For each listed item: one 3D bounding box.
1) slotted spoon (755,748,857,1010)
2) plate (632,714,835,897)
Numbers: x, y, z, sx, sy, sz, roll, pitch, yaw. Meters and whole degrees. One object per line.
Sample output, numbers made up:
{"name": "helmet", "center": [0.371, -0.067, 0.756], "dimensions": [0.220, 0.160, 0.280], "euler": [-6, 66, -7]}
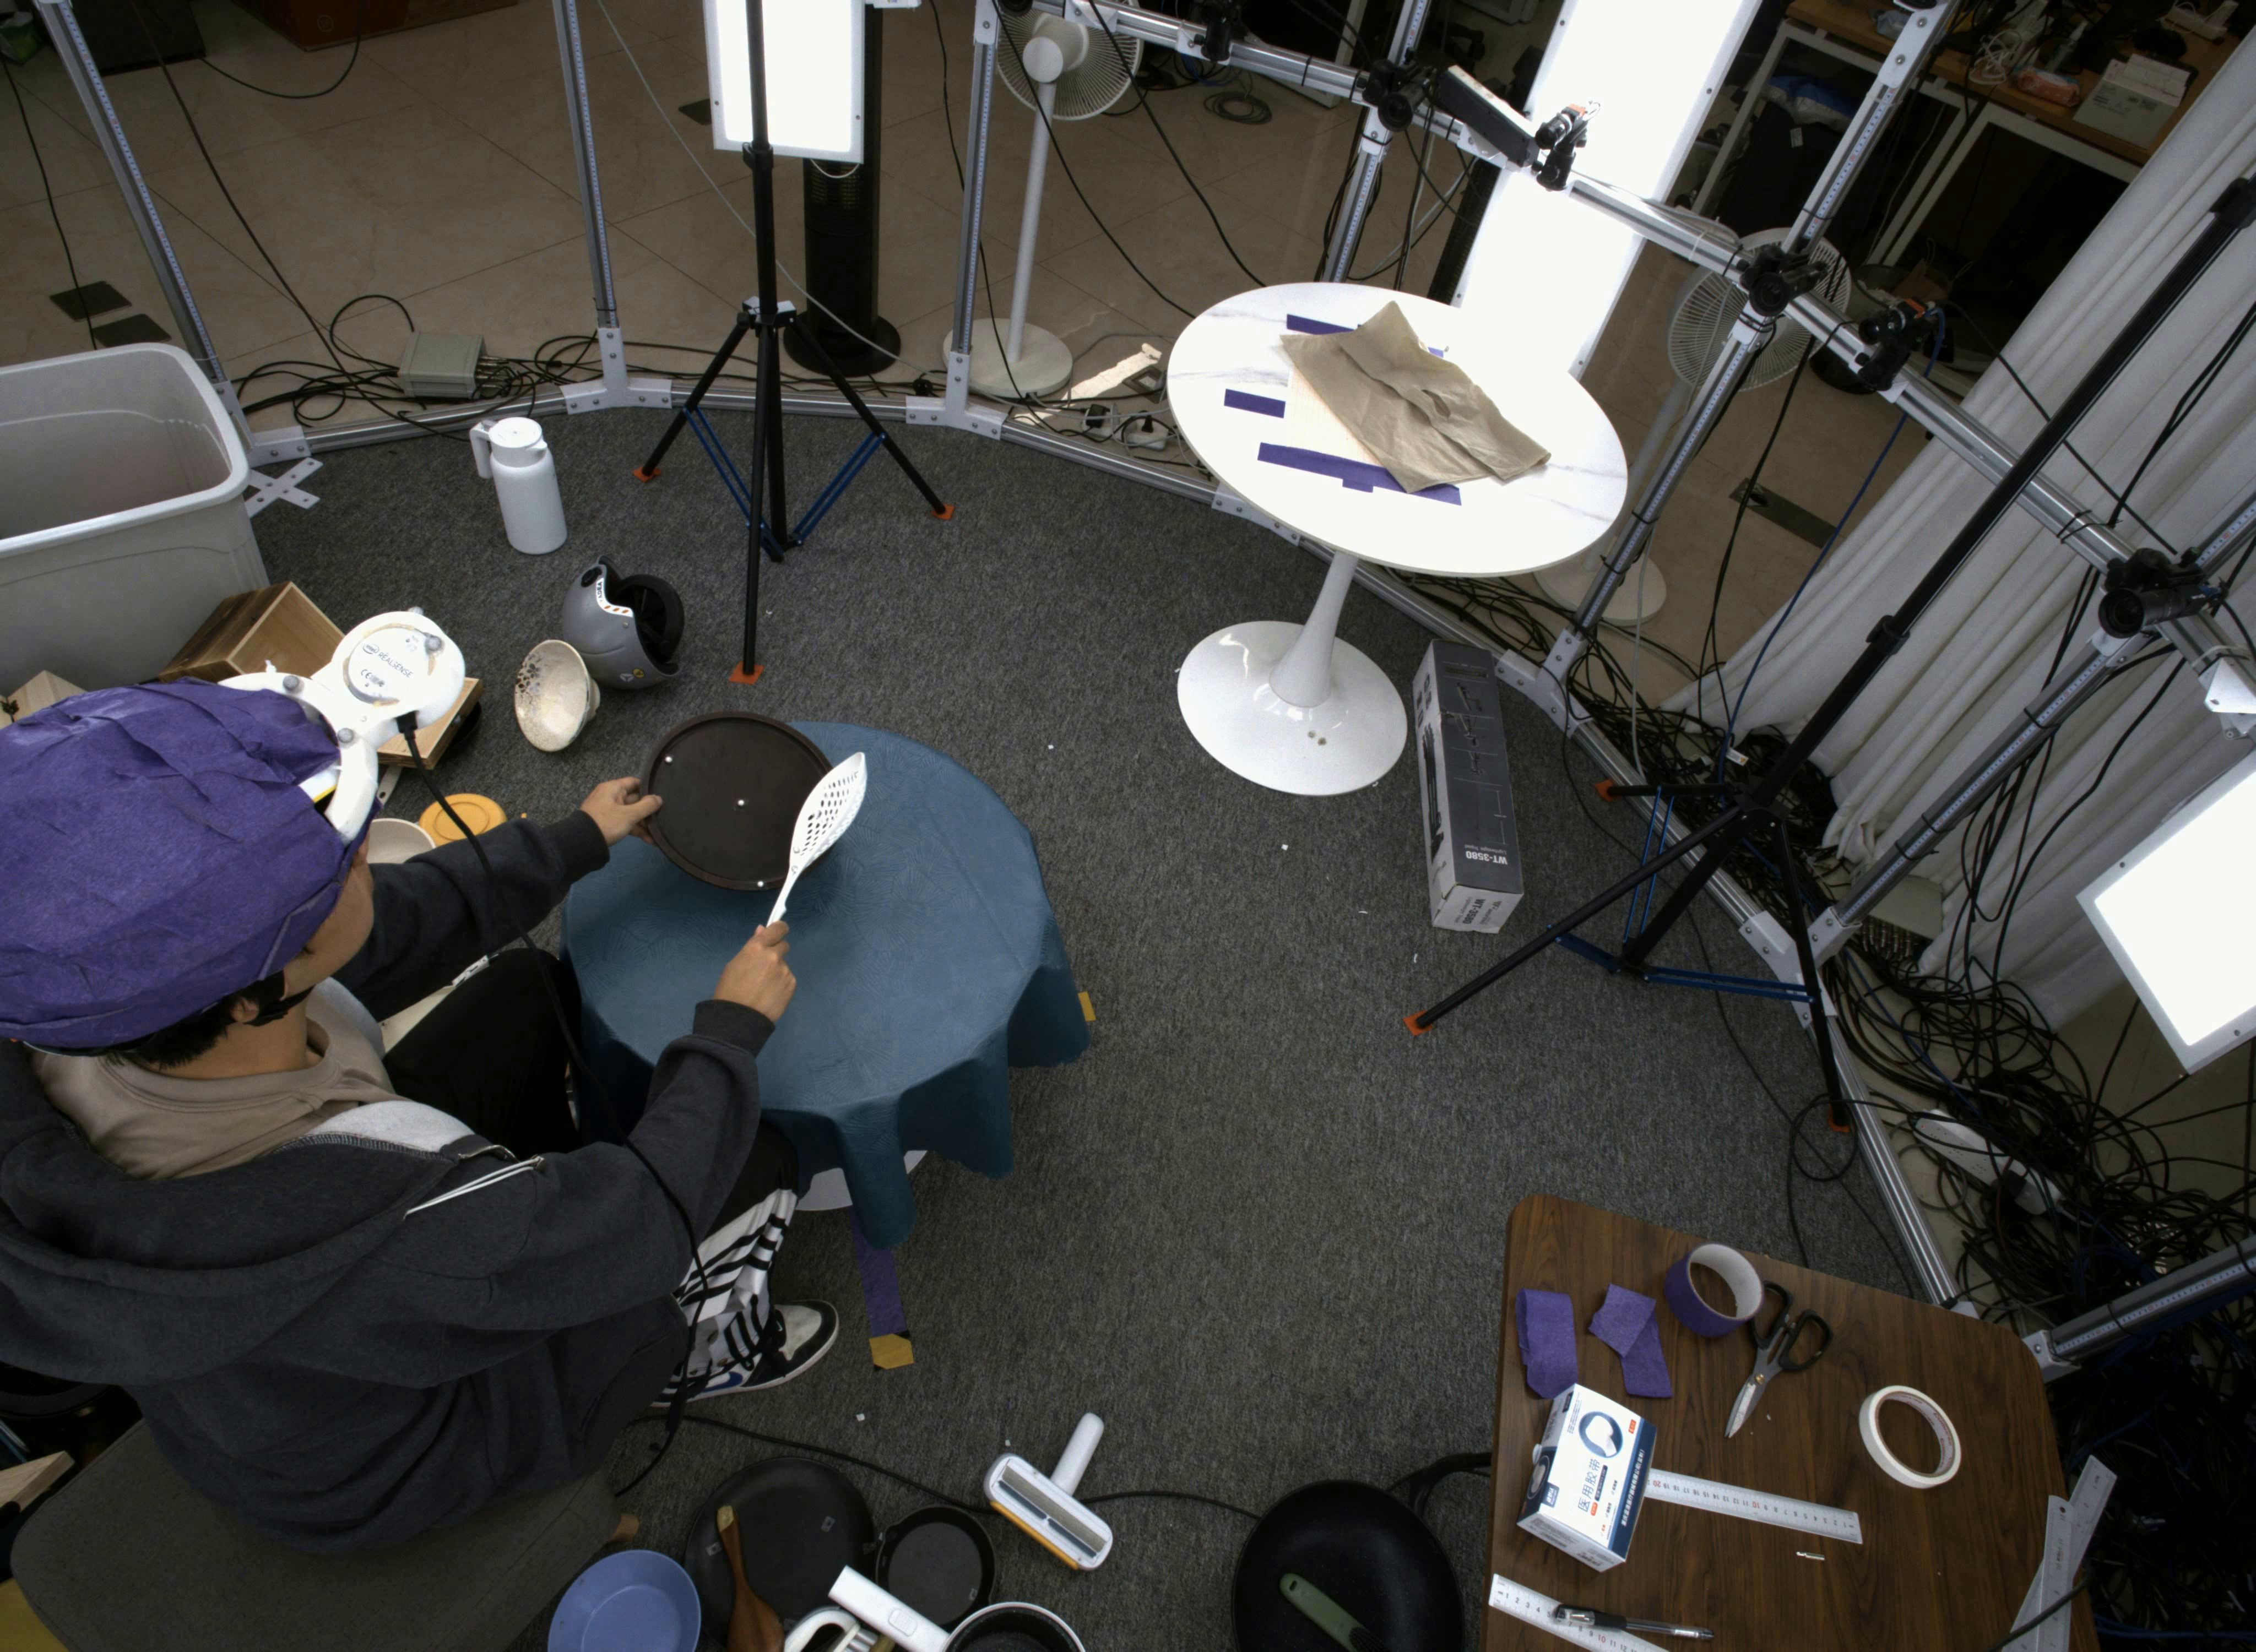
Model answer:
{"name": "slotted spoon", "center": [-0.386, 0.056, 1.507], "dimensions": [0.052, 0.134, 0.343], "euler": [40, 46, -27]}
{"name": "plate", "center": [-0.491, -0.027, 1.613], "dimensions": [0.259, 0.029, 0.251], "euler": [15, 60, -24]}
